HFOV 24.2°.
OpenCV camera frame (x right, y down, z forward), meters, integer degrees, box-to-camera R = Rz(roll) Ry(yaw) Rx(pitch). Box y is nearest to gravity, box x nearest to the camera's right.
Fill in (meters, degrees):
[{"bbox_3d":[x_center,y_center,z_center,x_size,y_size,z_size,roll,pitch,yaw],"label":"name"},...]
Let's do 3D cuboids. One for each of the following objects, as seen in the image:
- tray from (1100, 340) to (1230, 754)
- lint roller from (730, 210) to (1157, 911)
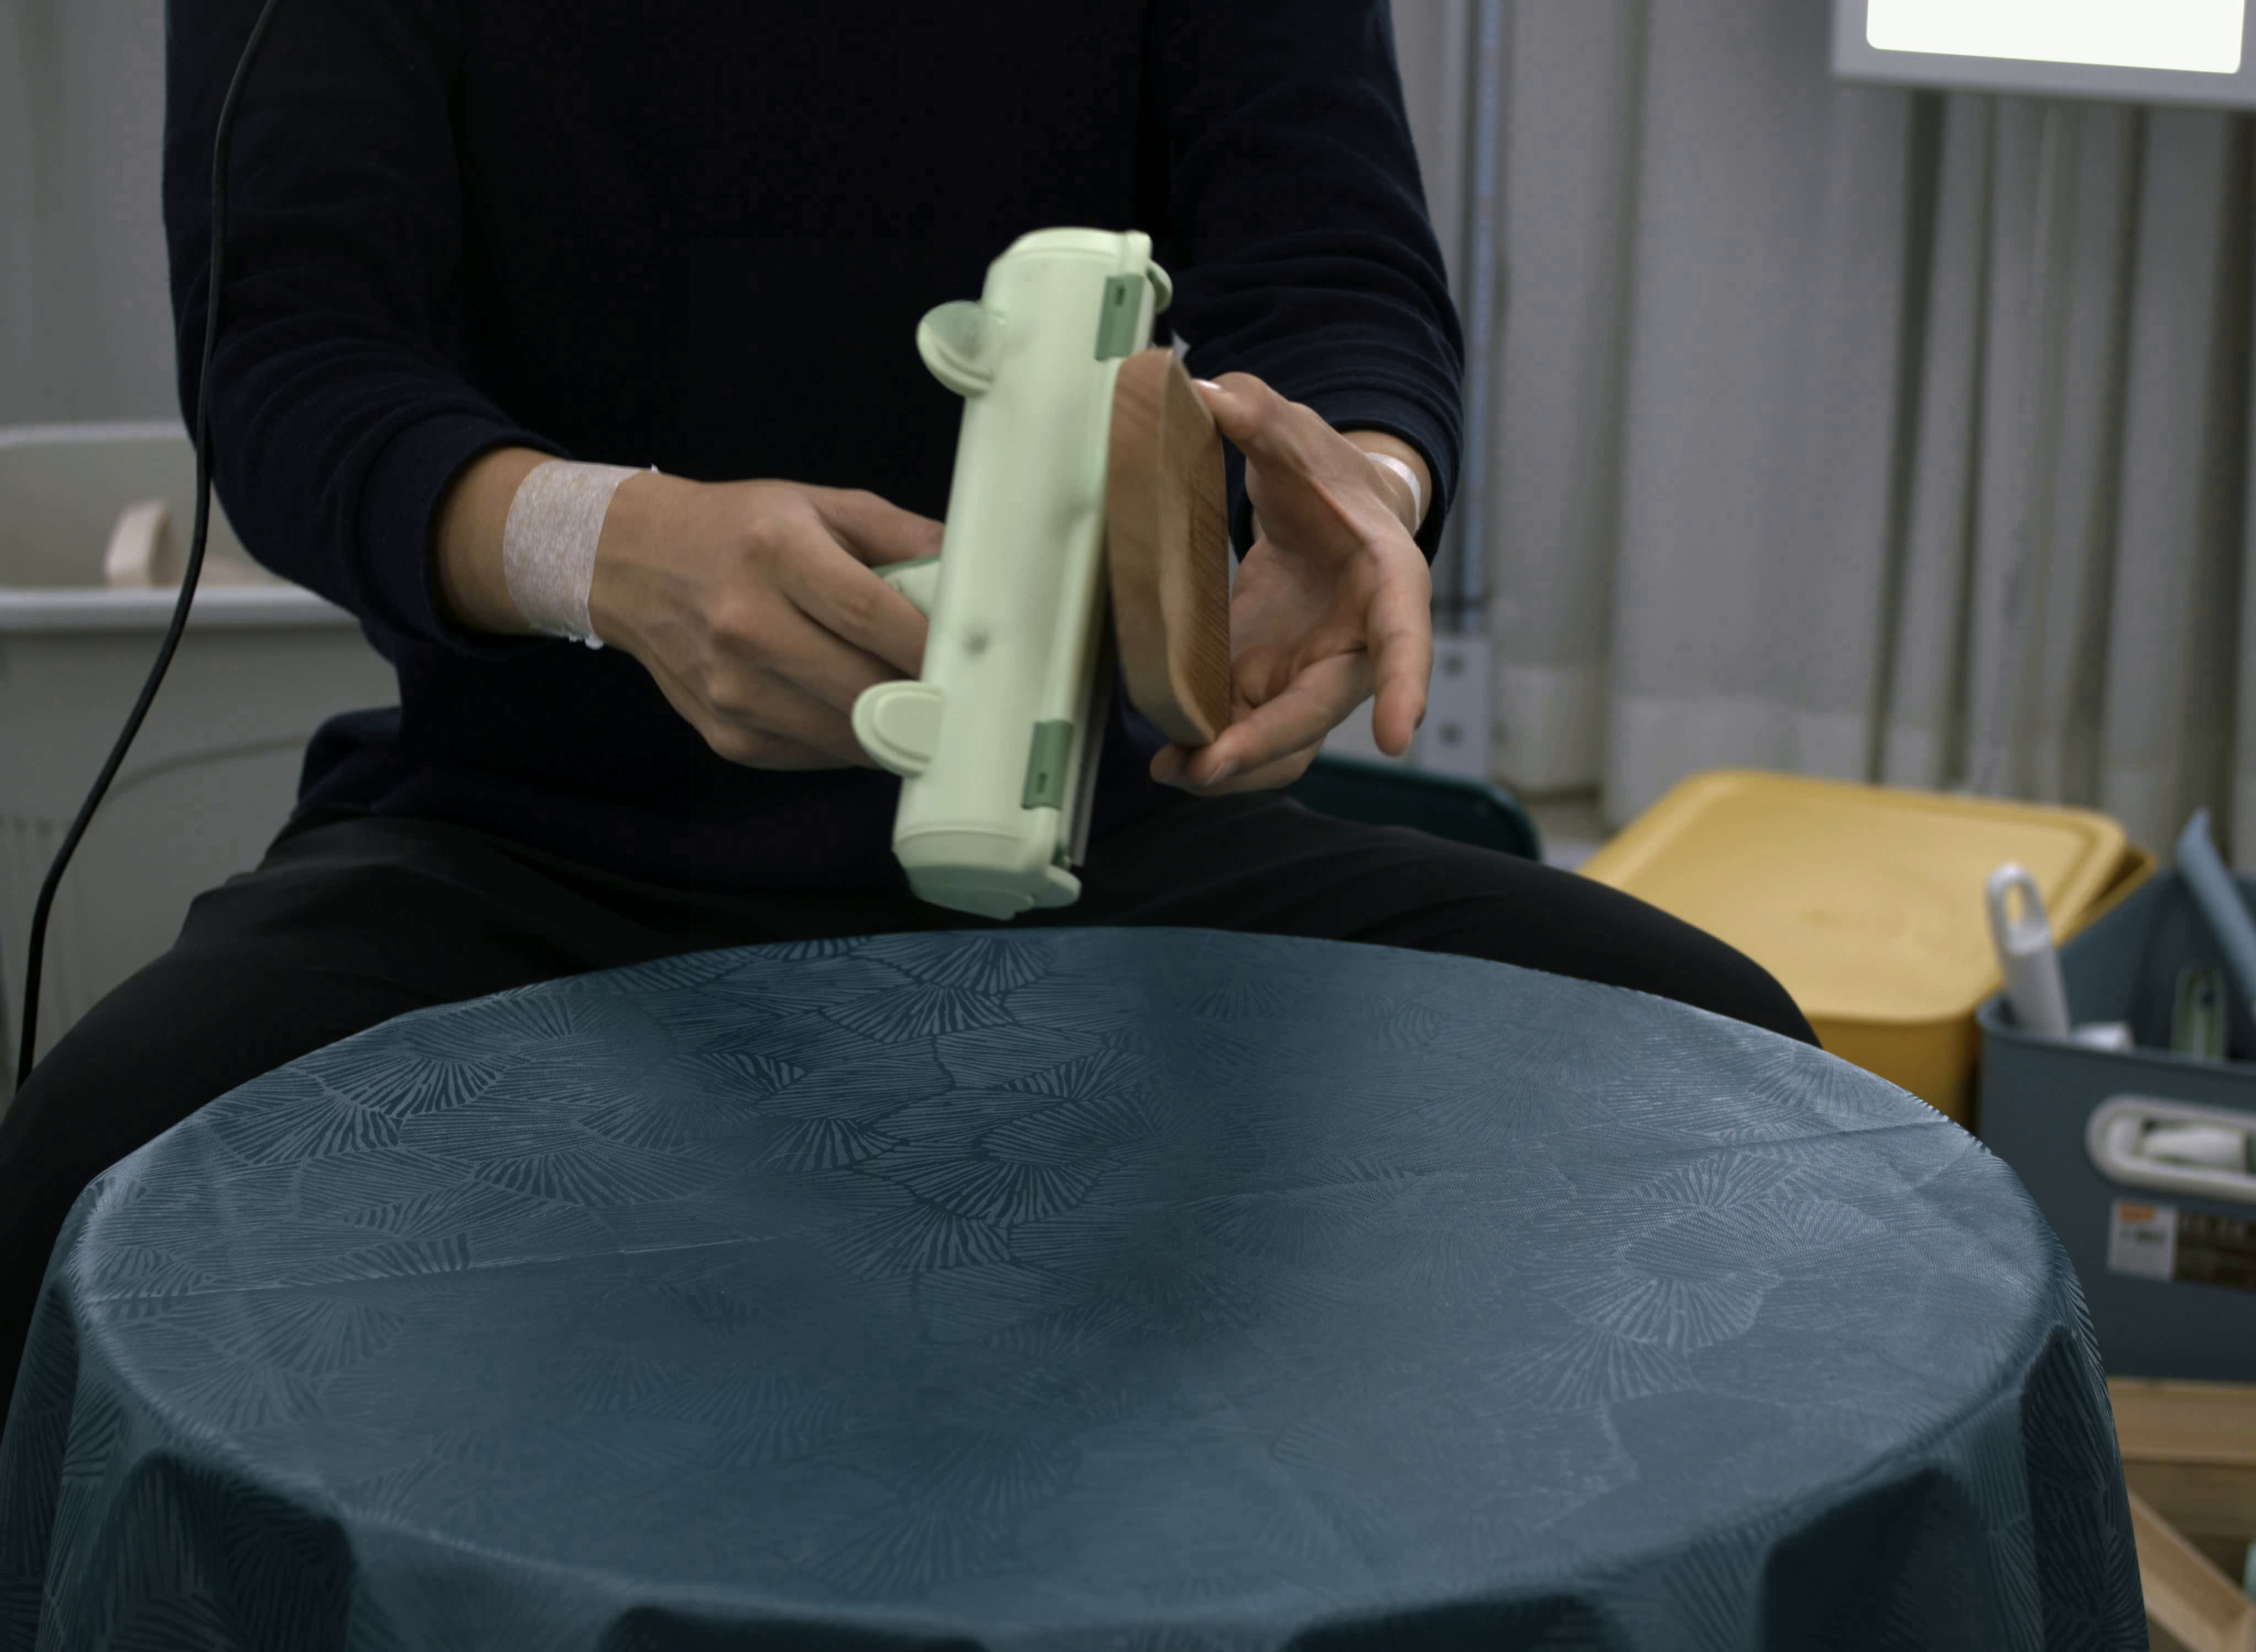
[{"bbox_3d":[0.012,-0.076,1.489,0.020,0.102,0.232,-1,-4,5],"label":"tray"},{"bbox_3d":[-0.073,-0.071,1.515,0.181,0.198,0.083,-9,-24,44],"label":"lint roller"}]
